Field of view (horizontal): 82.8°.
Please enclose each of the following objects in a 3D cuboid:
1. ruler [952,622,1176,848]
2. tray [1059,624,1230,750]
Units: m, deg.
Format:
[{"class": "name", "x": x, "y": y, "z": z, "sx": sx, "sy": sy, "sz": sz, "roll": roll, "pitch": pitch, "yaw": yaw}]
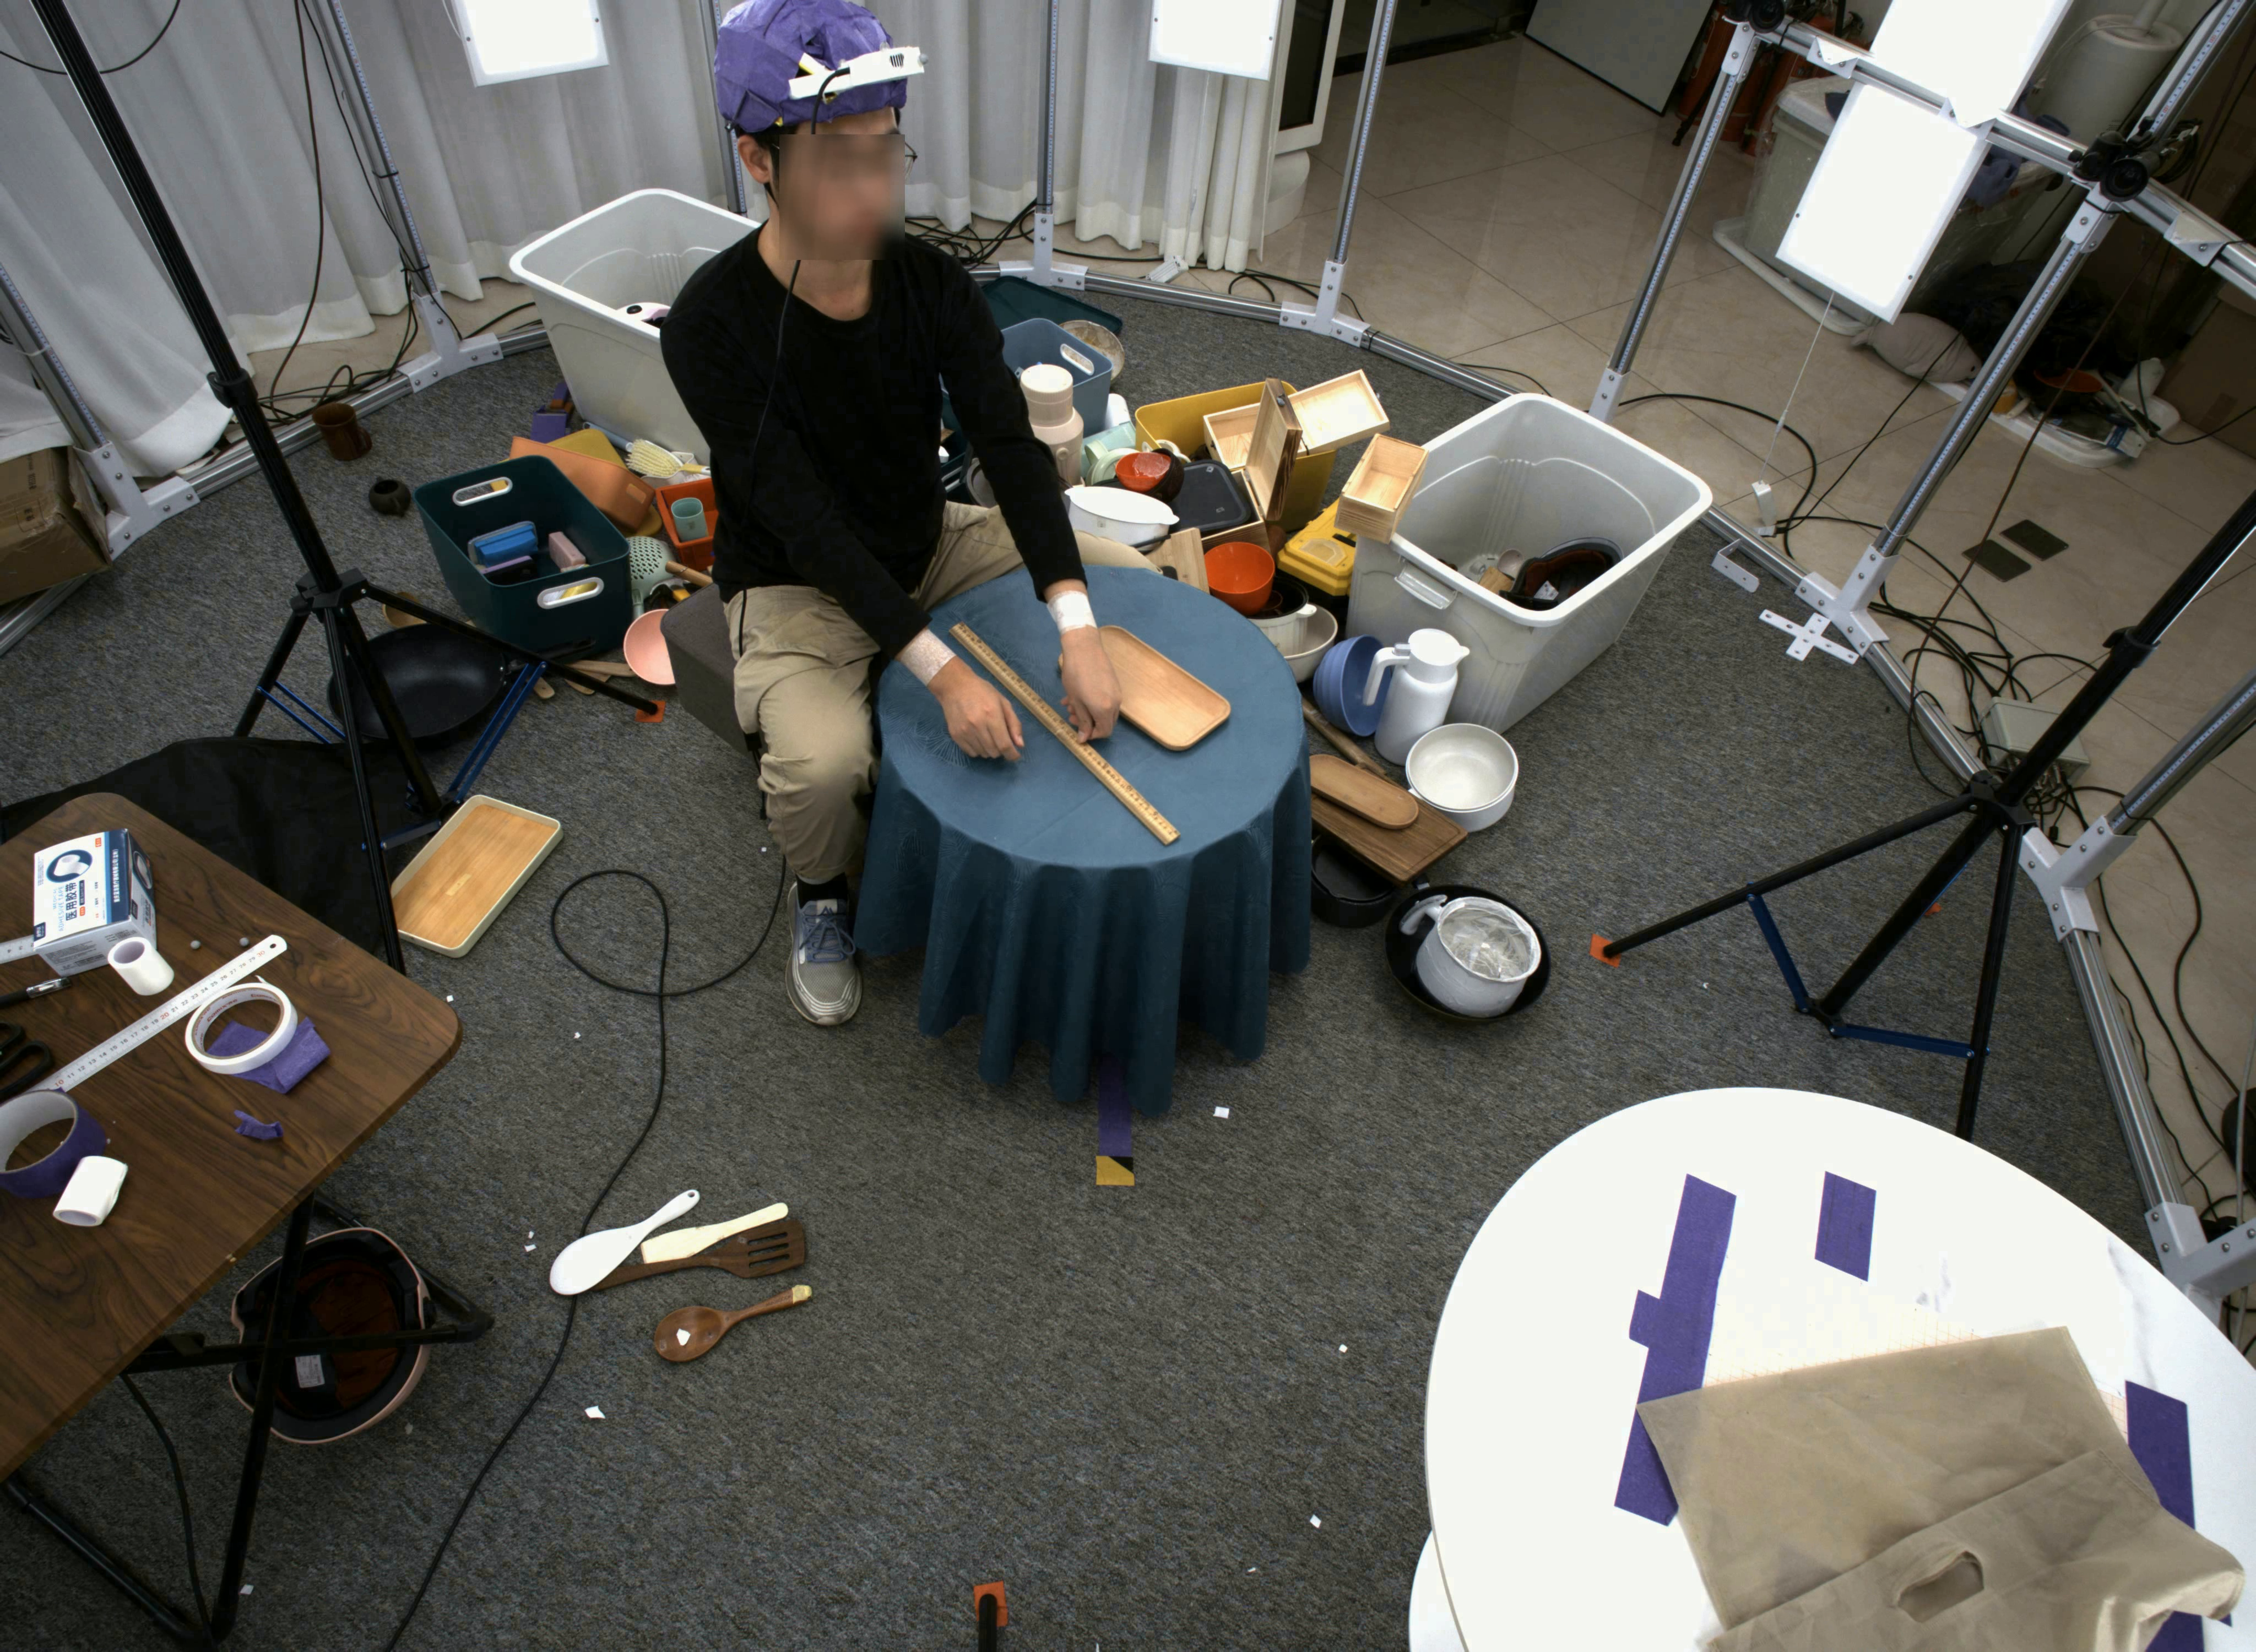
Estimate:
[{"class": "ruler", "x": -0.097, "y": -0.138, "z": 1.777, "sx": 0.027, "sy": 0.006, "sz": 0.509, "roll": -34, "pitch": 58, "yaw": -17}, {"class": "tray", "x": 0.022, "y": -0.201, "z": 1.835, "sx": 0.132, "sy": 0.022, "sz": 0.254, "roll": -34, "pitch": 58, "yaw": -31}]
